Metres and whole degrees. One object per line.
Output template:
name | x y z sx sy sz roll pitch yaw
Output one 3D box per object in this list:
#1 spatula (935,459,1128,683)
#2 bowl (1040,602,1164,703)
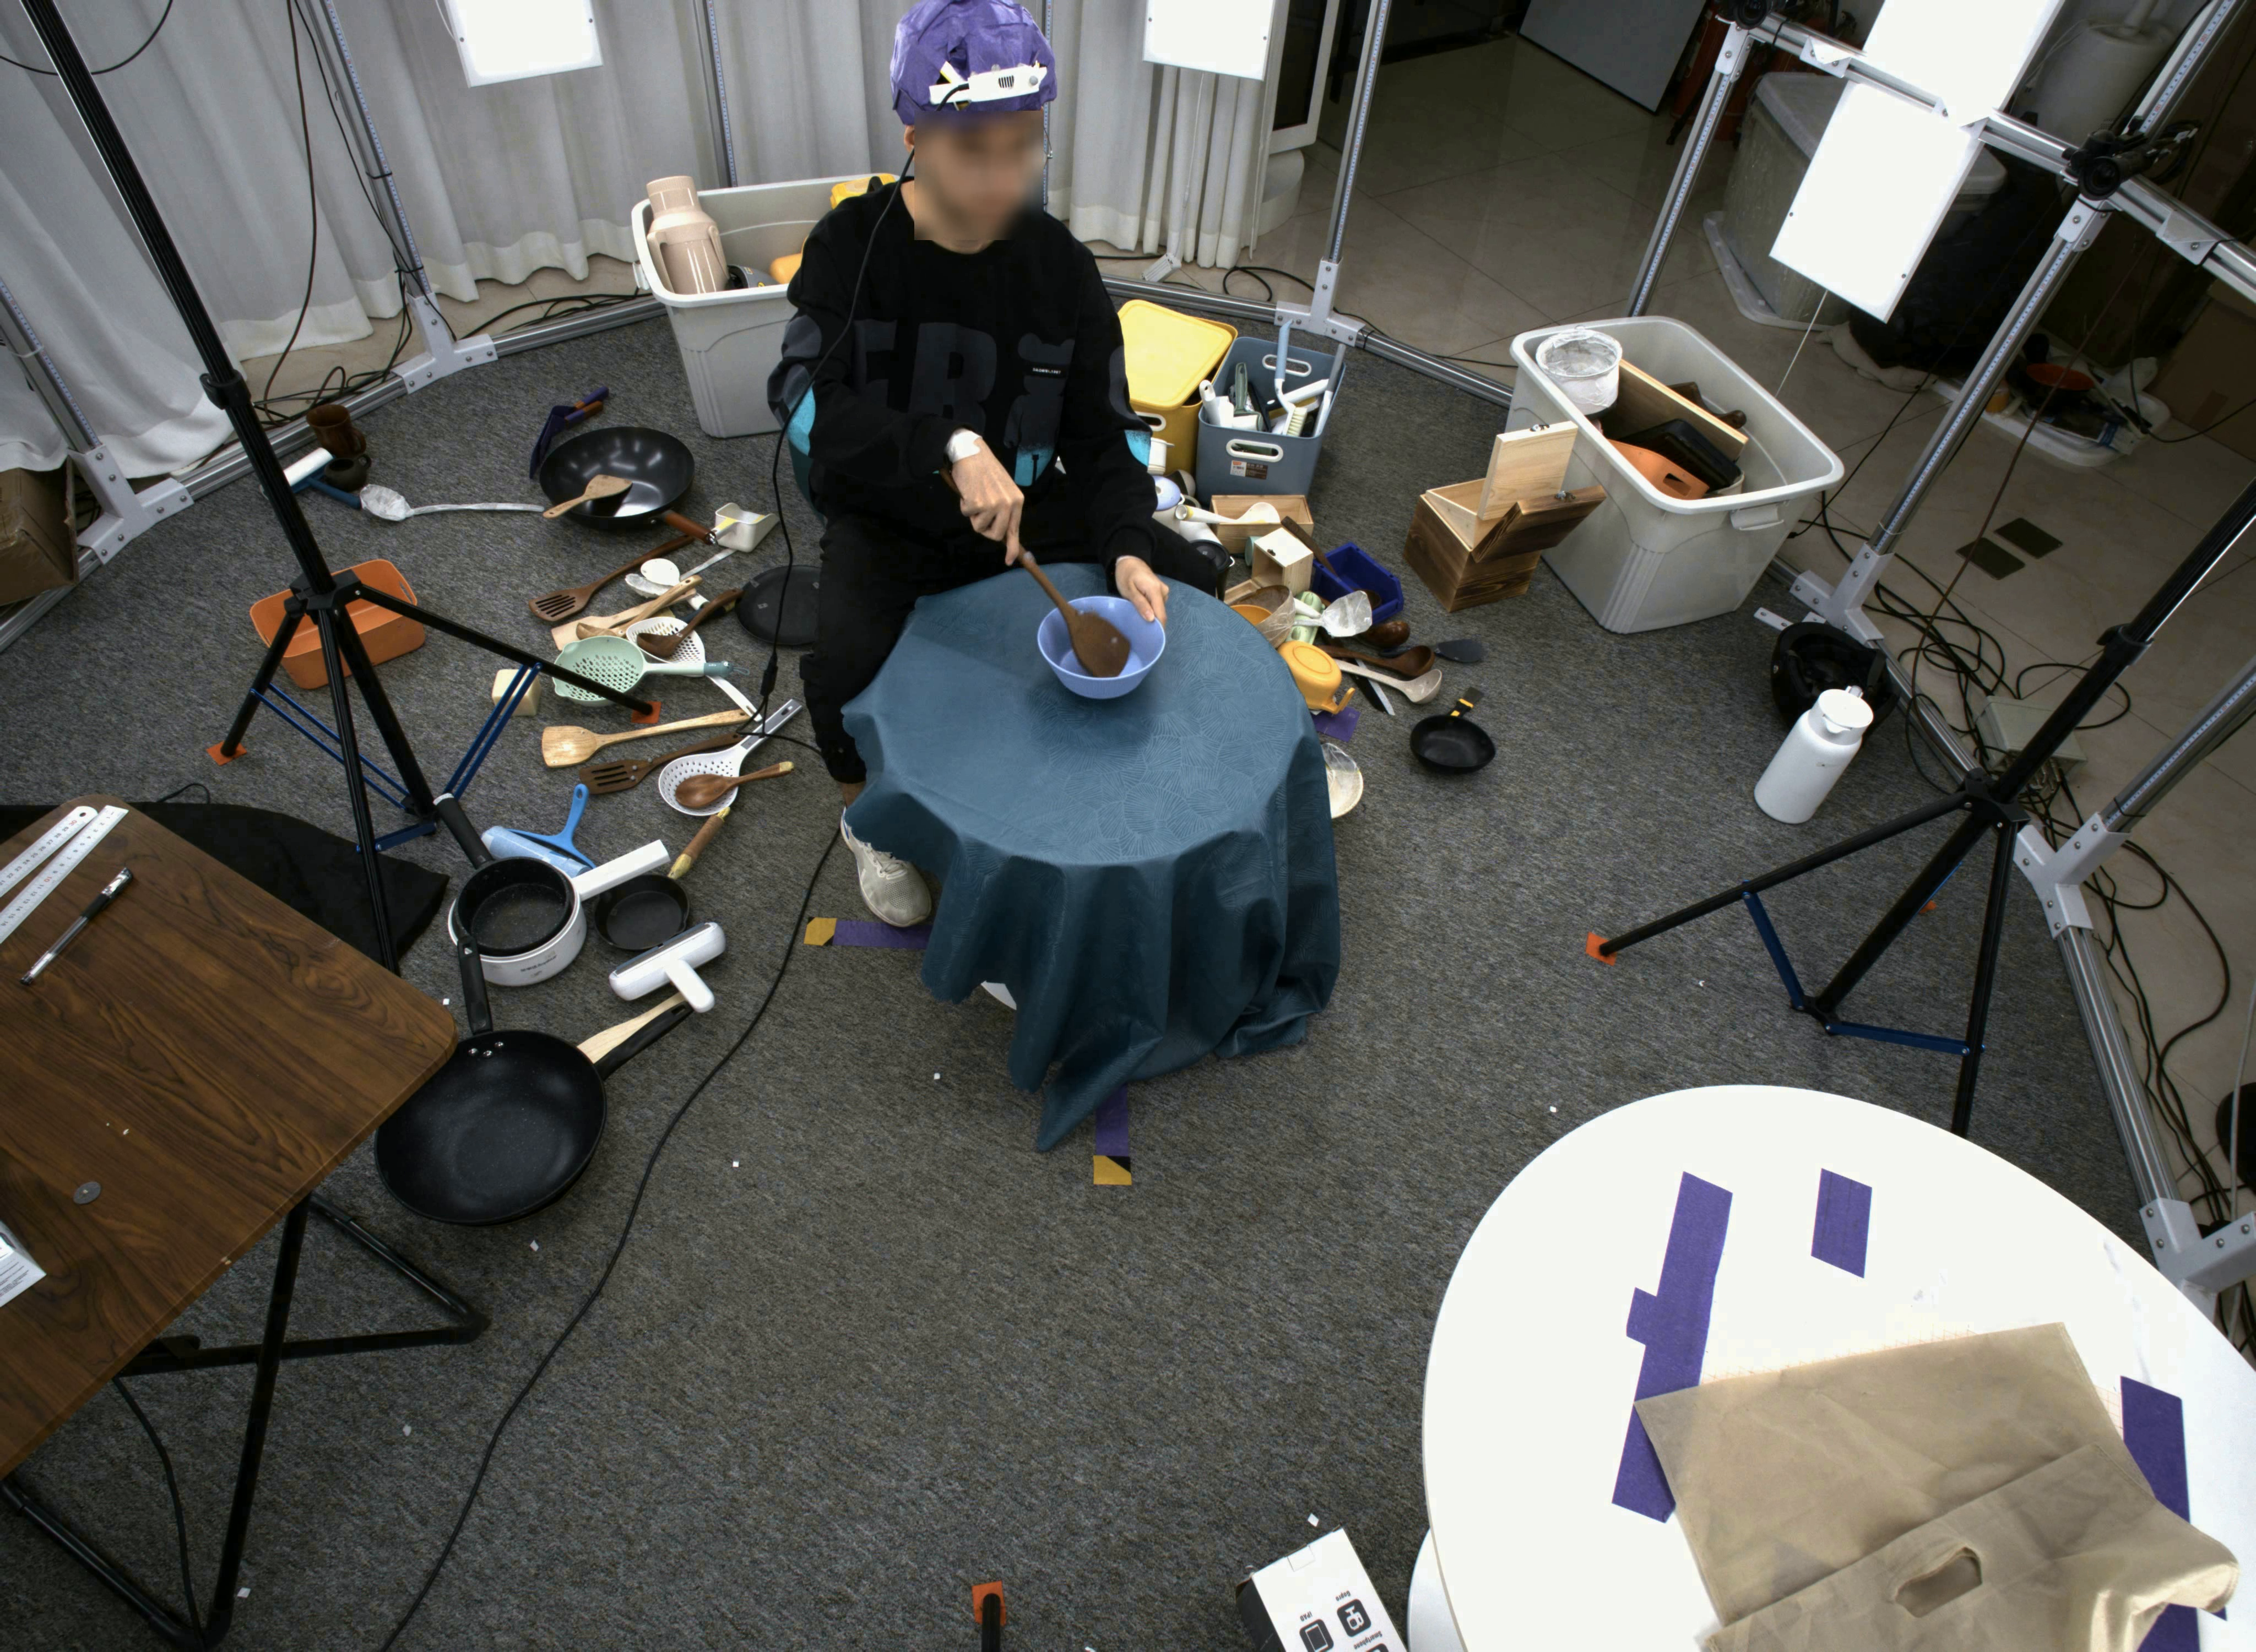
spatula | -0.130 -0.347 1.763 0.016 0.380 0.098 -18 32 44
bowl | -0.035 -0.237 1.819 0.176 0.068 0.180 -2 48 2
